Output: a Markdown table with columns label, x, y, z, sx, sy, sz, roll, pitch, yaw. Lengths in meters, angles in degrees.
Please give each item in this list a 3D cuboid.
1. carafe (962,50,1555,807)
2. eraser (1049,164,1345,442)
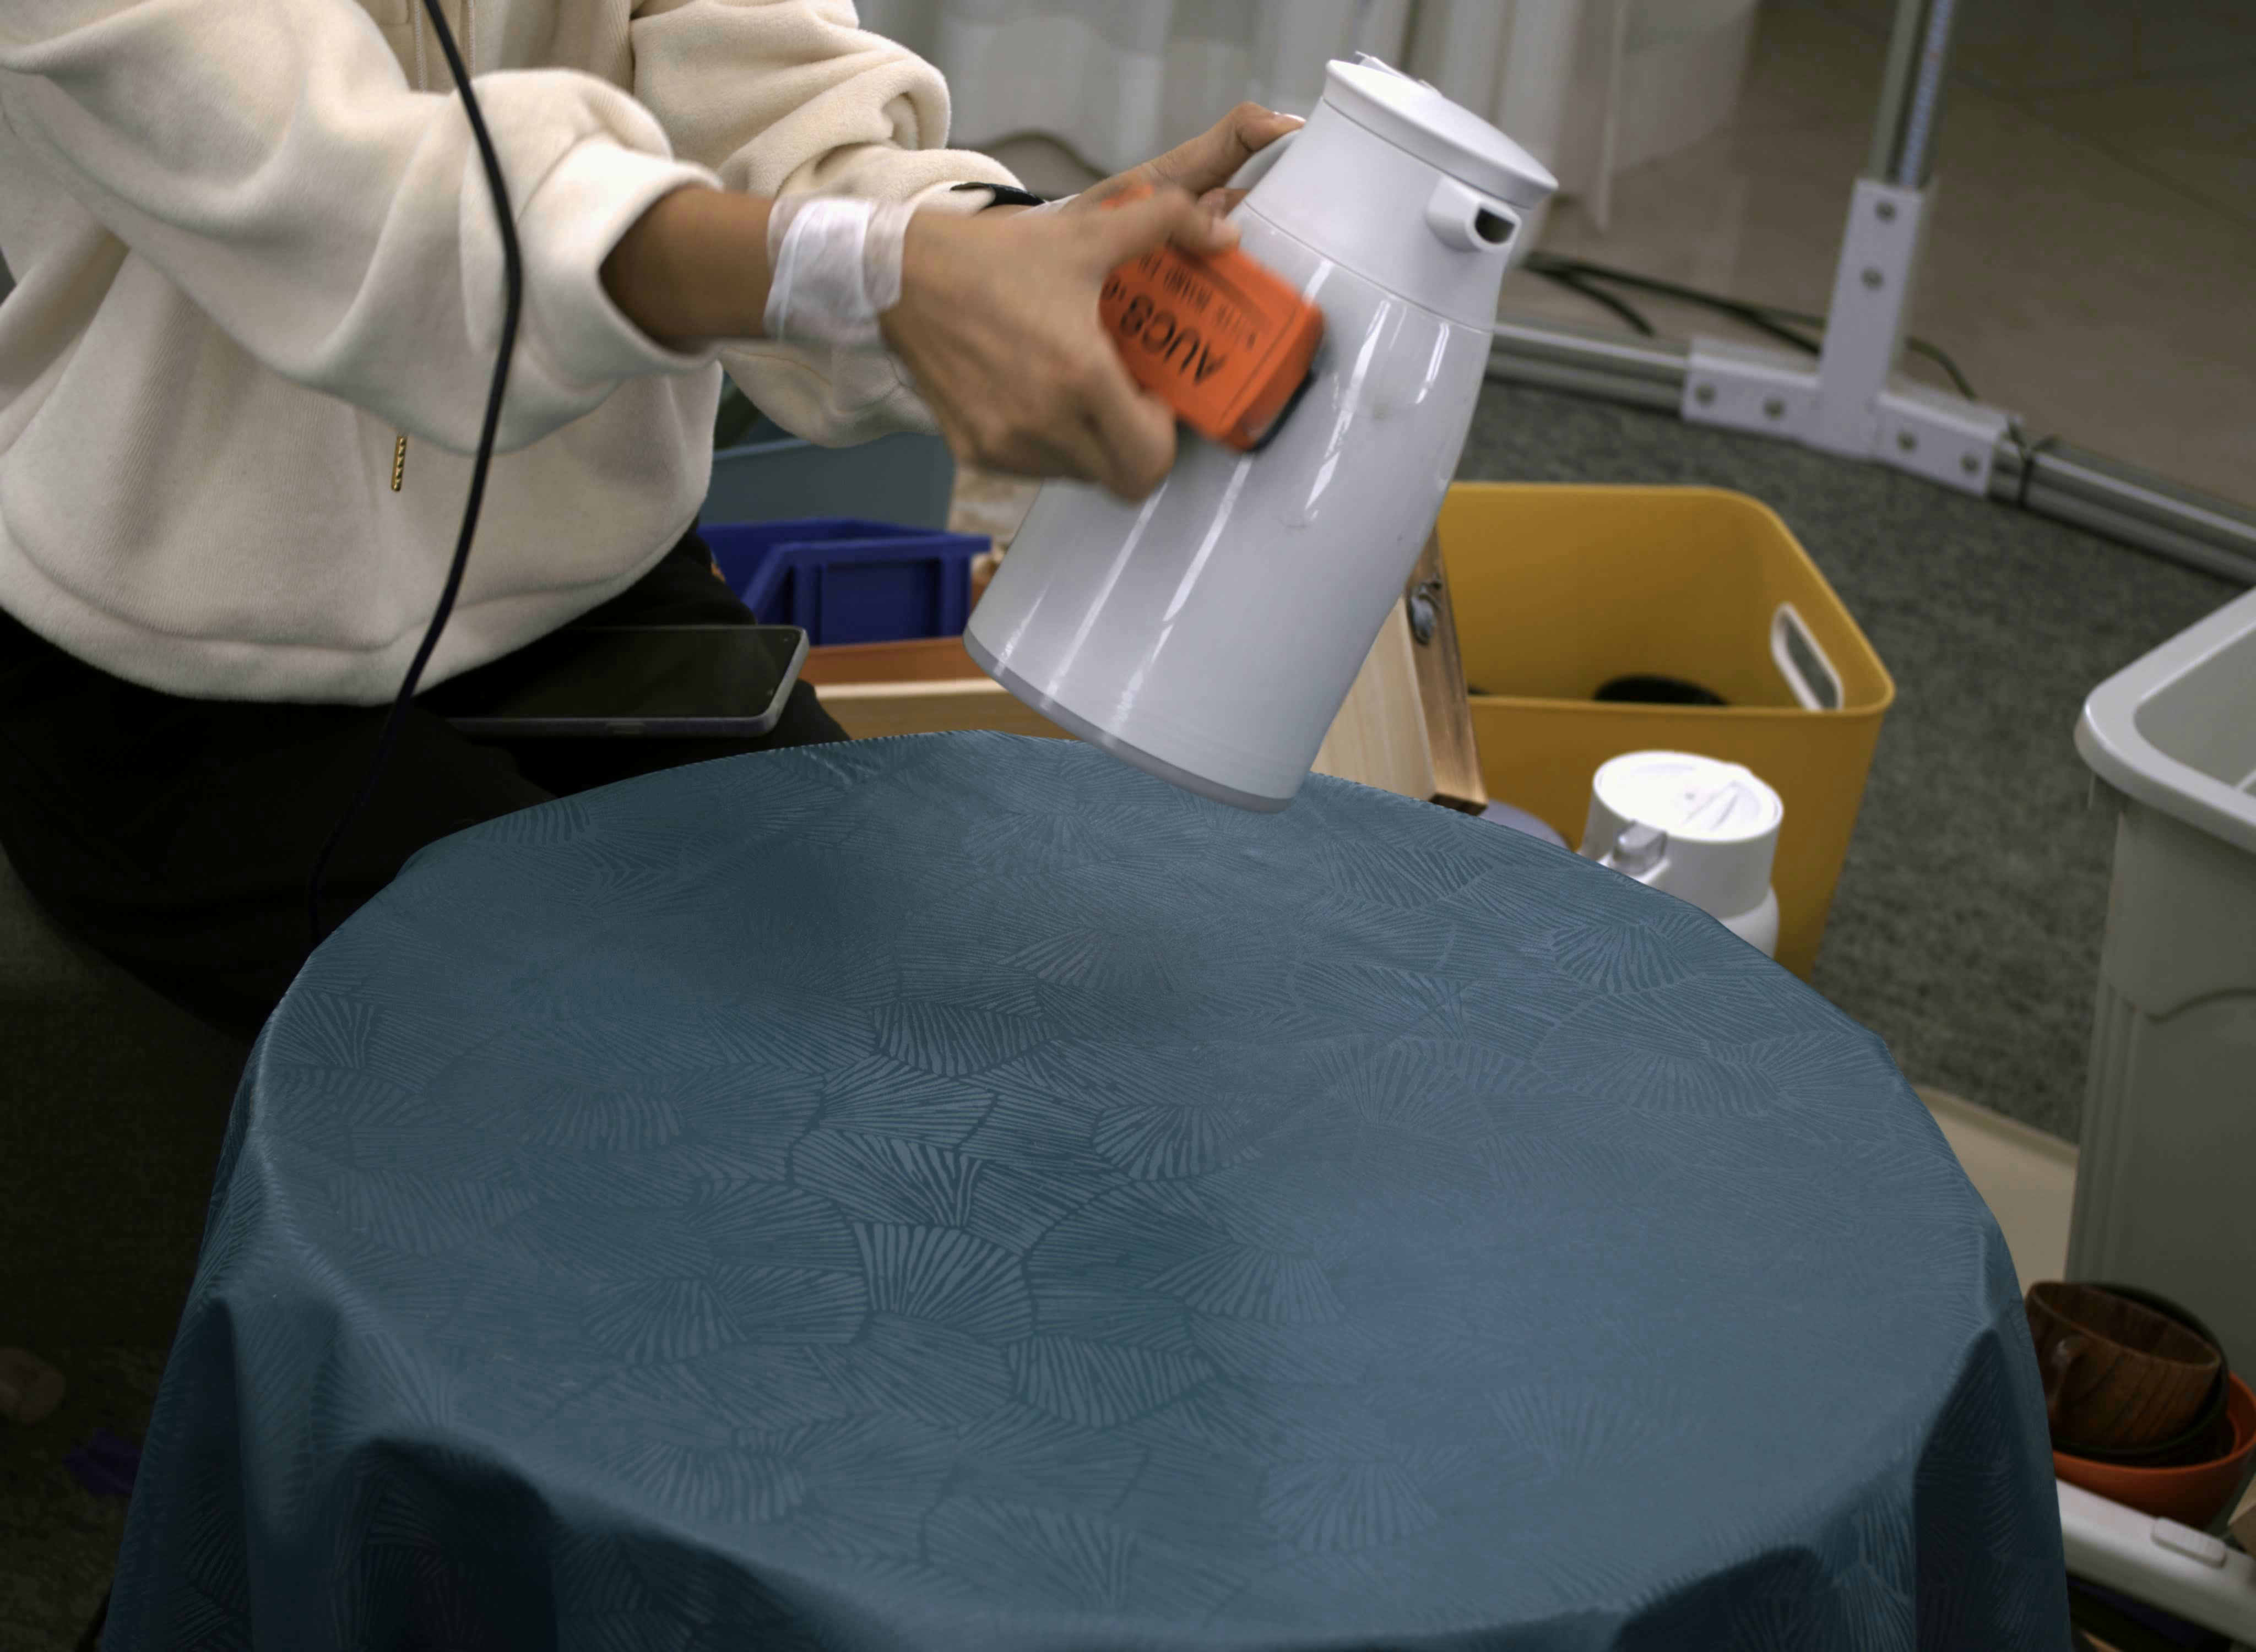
| label | x | y | z | sx | sy | sz | roll | pitch | yaw |
| --- | --- | --- | --- | --- | --- | --- | --- | --- | --- |
| carafe | 0.046 | -0.153 | 1.884 | 0.131 | 0.248 | 0.169 | 20 | 13 | -31 |
| eraser | 0.023 | -0.179 | 1.813 | 0.109 | 0.059 | 0.022 | 40 | 6 | 40 |
